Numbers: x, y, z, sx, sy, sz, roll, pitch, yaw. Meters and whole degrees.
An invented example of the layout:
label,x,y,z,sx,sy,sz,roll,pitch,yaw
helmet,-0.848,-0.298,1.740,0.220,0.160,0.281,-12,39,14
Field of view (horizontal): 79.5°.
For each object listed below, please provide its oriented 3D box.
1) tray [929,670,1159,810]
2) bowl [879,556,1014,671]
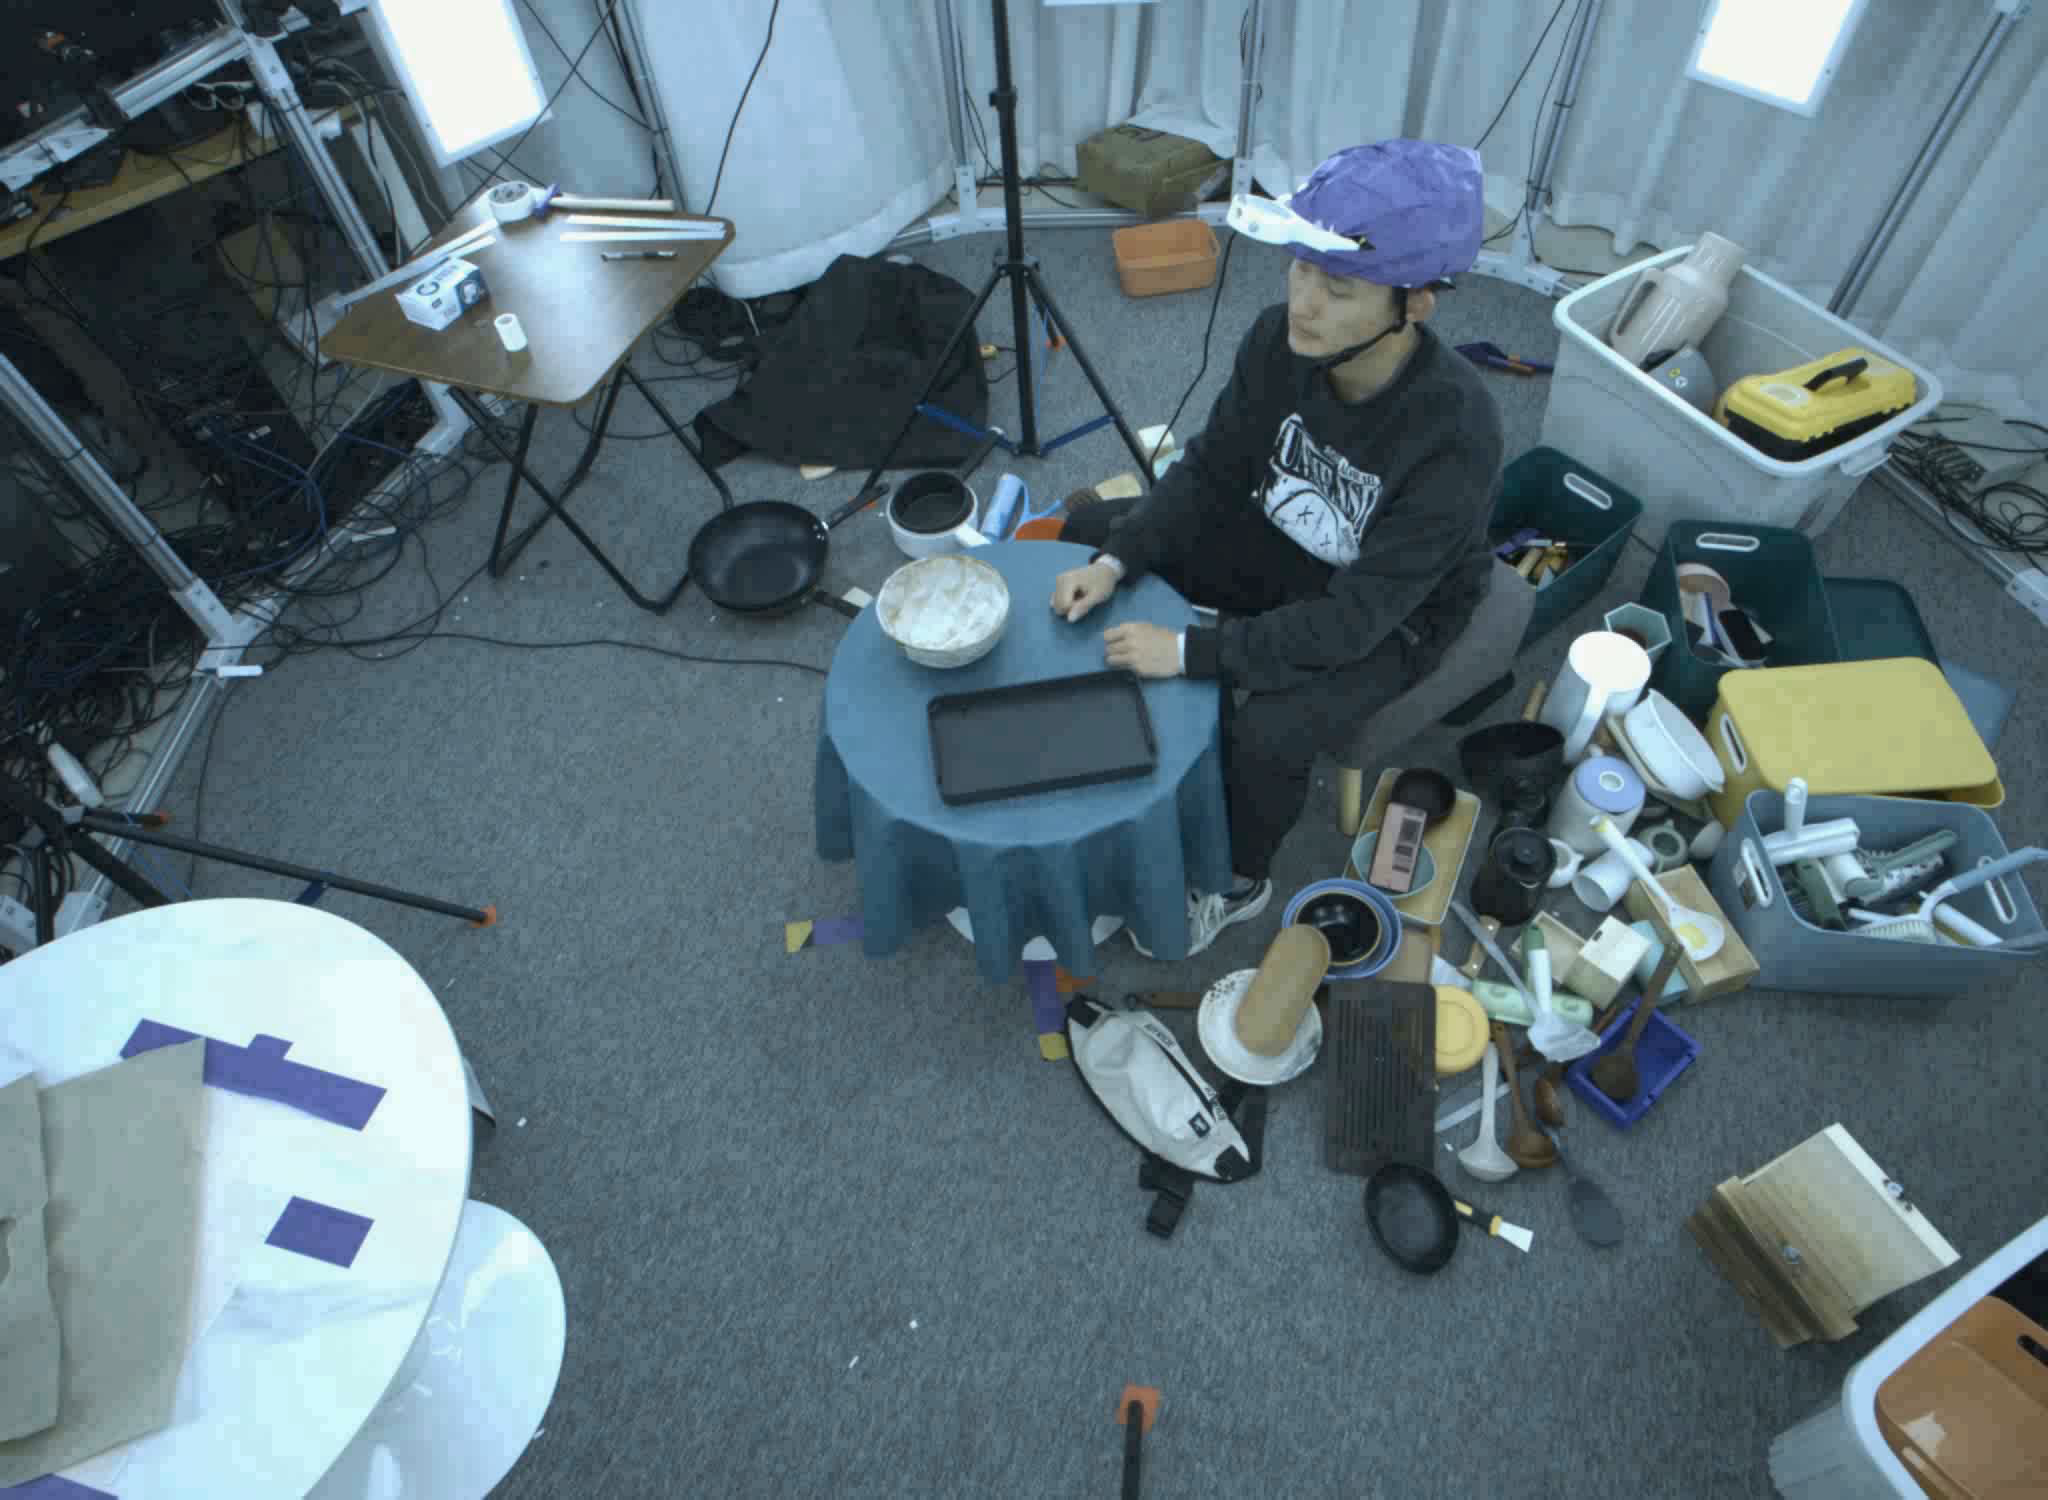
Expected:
label,x,y,z,sx,sy,sz,roll,pitch,yaw
tray,0.027,-0.016,1.789,0.318,0.037,0.182,-8,56,-2
bowl,-0.114,-0.191,1.878,0.214,0.095,0.212,0,53,2
